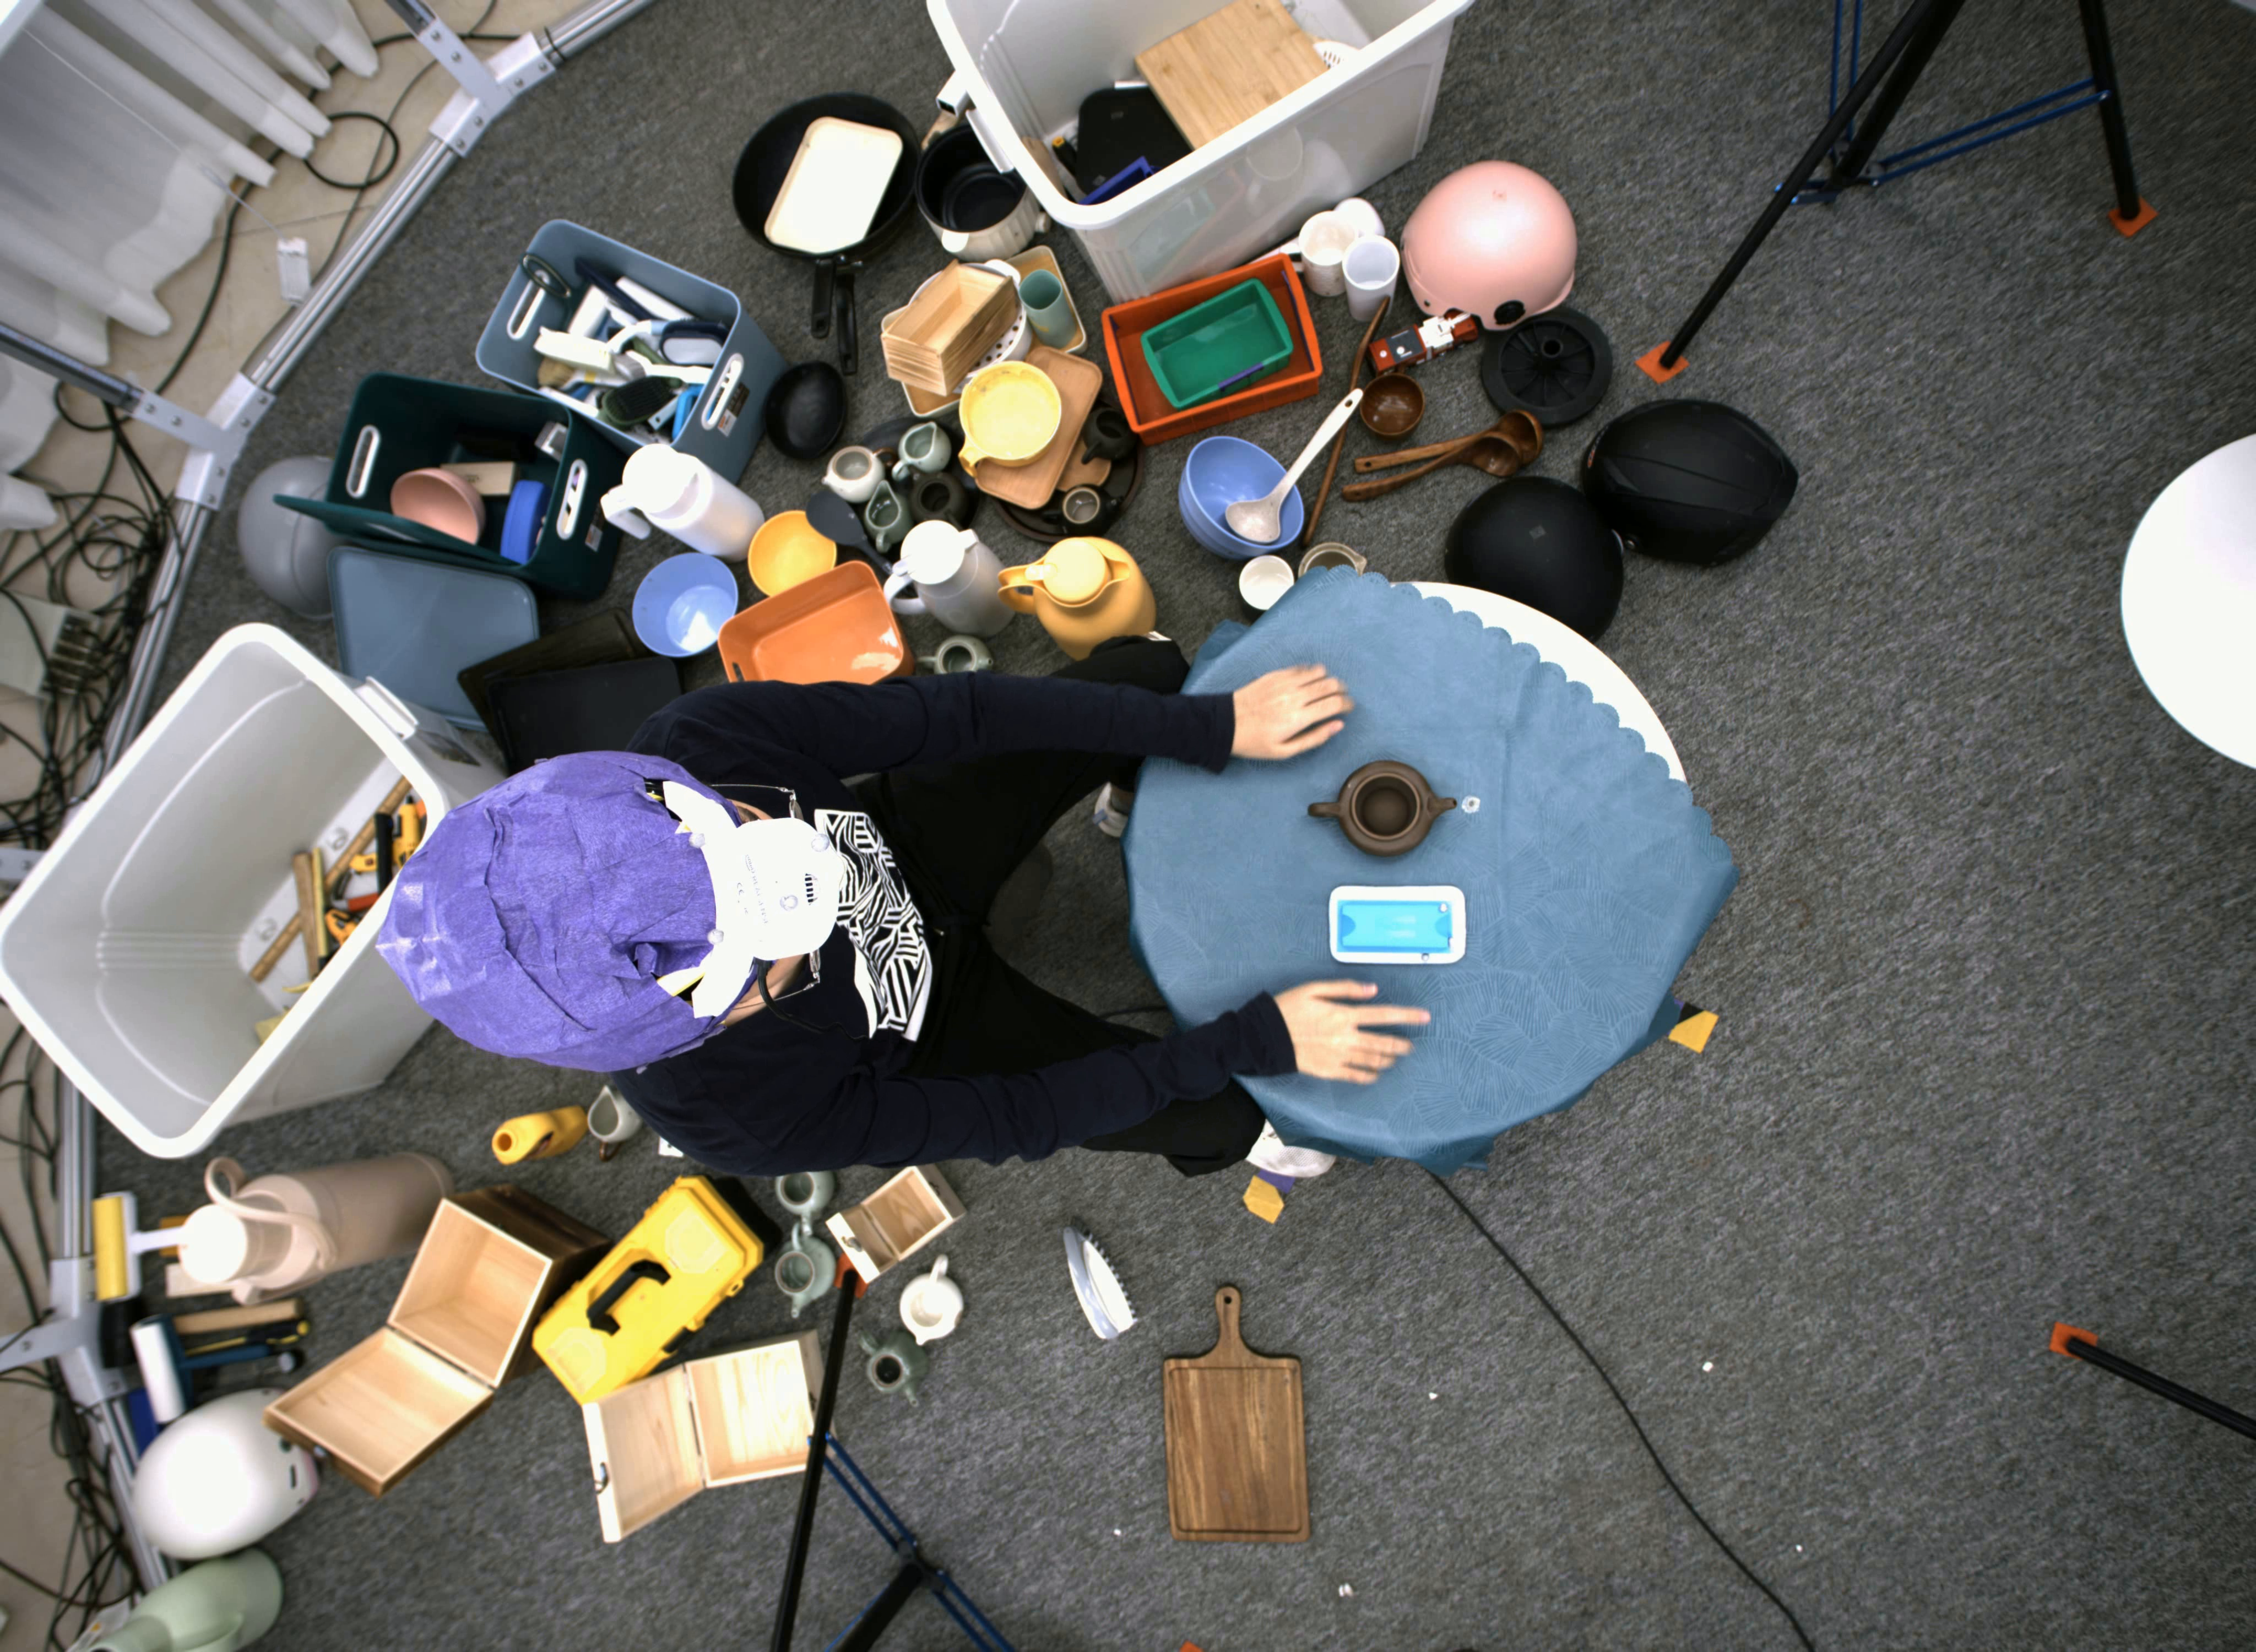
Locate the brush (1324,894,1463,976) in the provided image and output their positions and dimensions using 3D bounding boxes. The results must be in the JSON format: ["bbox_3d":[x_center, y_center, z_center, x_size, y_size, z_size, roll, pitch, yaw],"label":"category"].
[{"bbox_3d":[0.277,0.110,1.438,0.144,0.056,0.083,3,80,10],"label":"brush"}]

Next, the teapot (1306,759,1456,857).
[{"bbox_3d":[0.263,-0.020,1.438,0.154,0.054,0.102,-8,84,10],"label":"teapot"}]
